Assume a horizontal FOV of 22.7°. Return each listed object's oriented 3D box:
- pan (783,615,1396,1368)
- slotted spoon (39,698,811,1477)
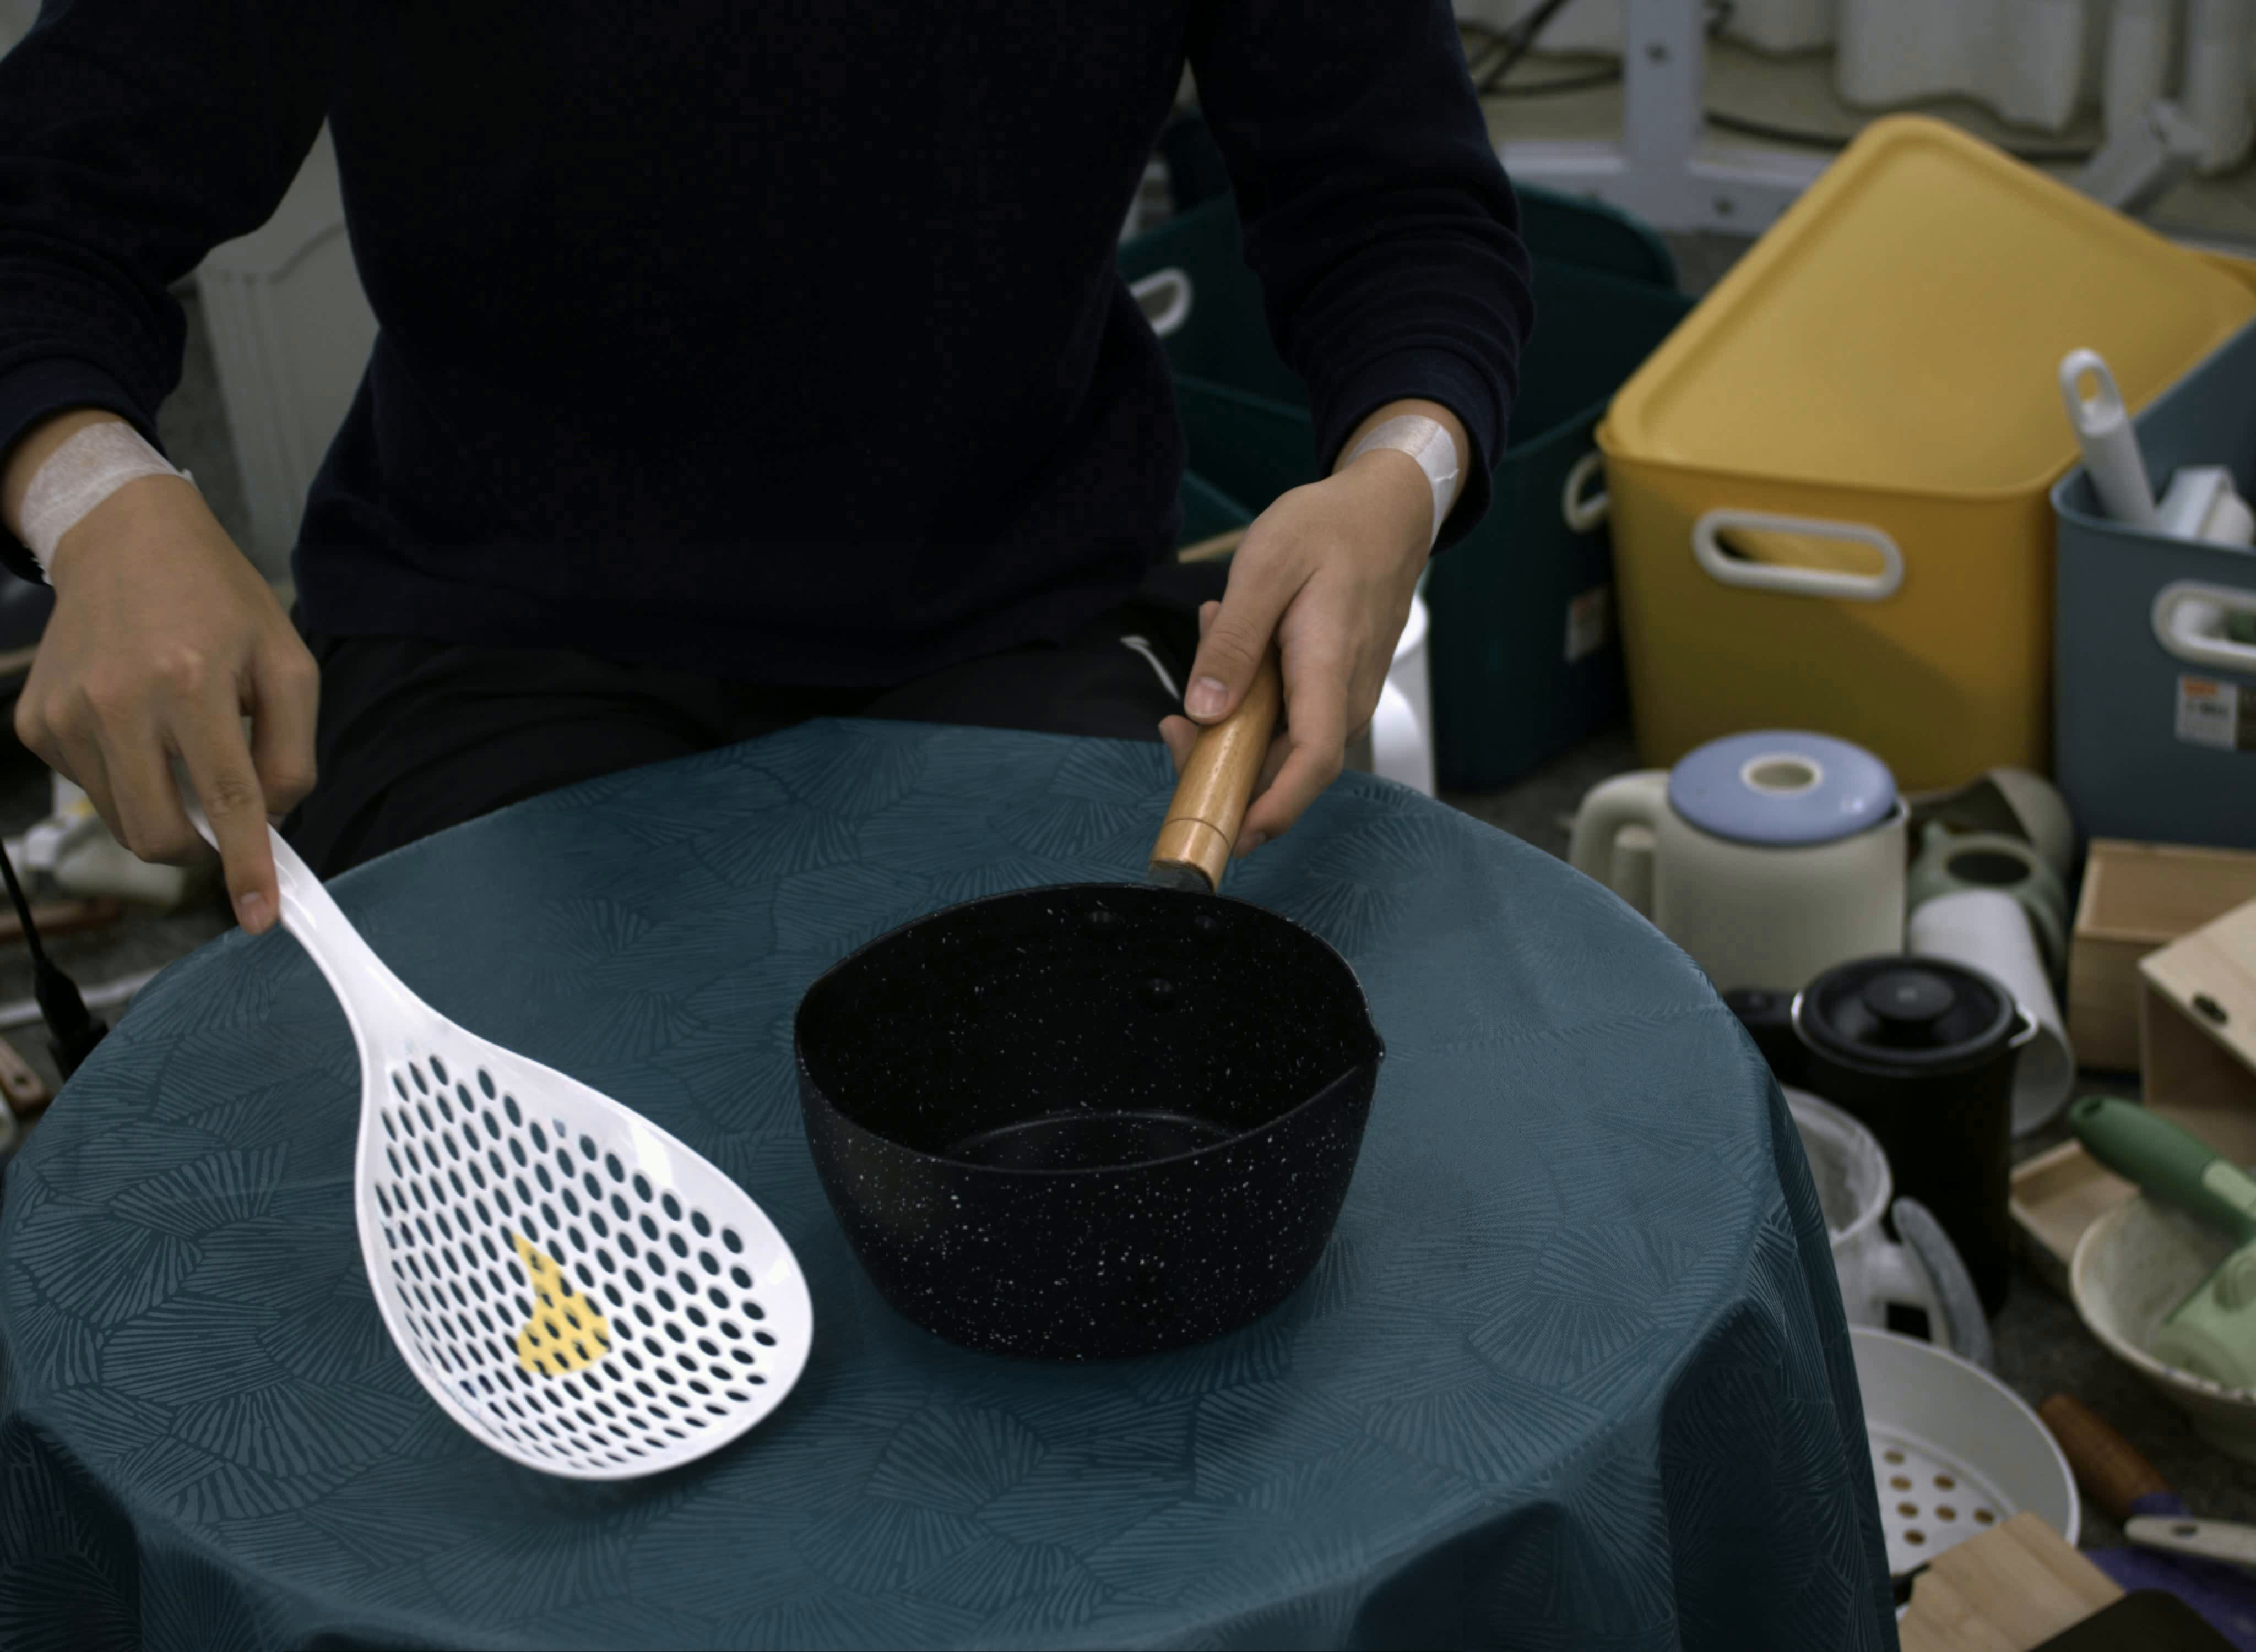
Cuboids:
[{"bbox_3d":[0.006,0.052,1.881,0.206,0.107,0.349,3,29,14],"label":"pan"},{"bbox_3d":[-0.238,0.073,1.794,0.138,0.049,0.350,-25,67,-37],"label":"slotted spoon"}]
